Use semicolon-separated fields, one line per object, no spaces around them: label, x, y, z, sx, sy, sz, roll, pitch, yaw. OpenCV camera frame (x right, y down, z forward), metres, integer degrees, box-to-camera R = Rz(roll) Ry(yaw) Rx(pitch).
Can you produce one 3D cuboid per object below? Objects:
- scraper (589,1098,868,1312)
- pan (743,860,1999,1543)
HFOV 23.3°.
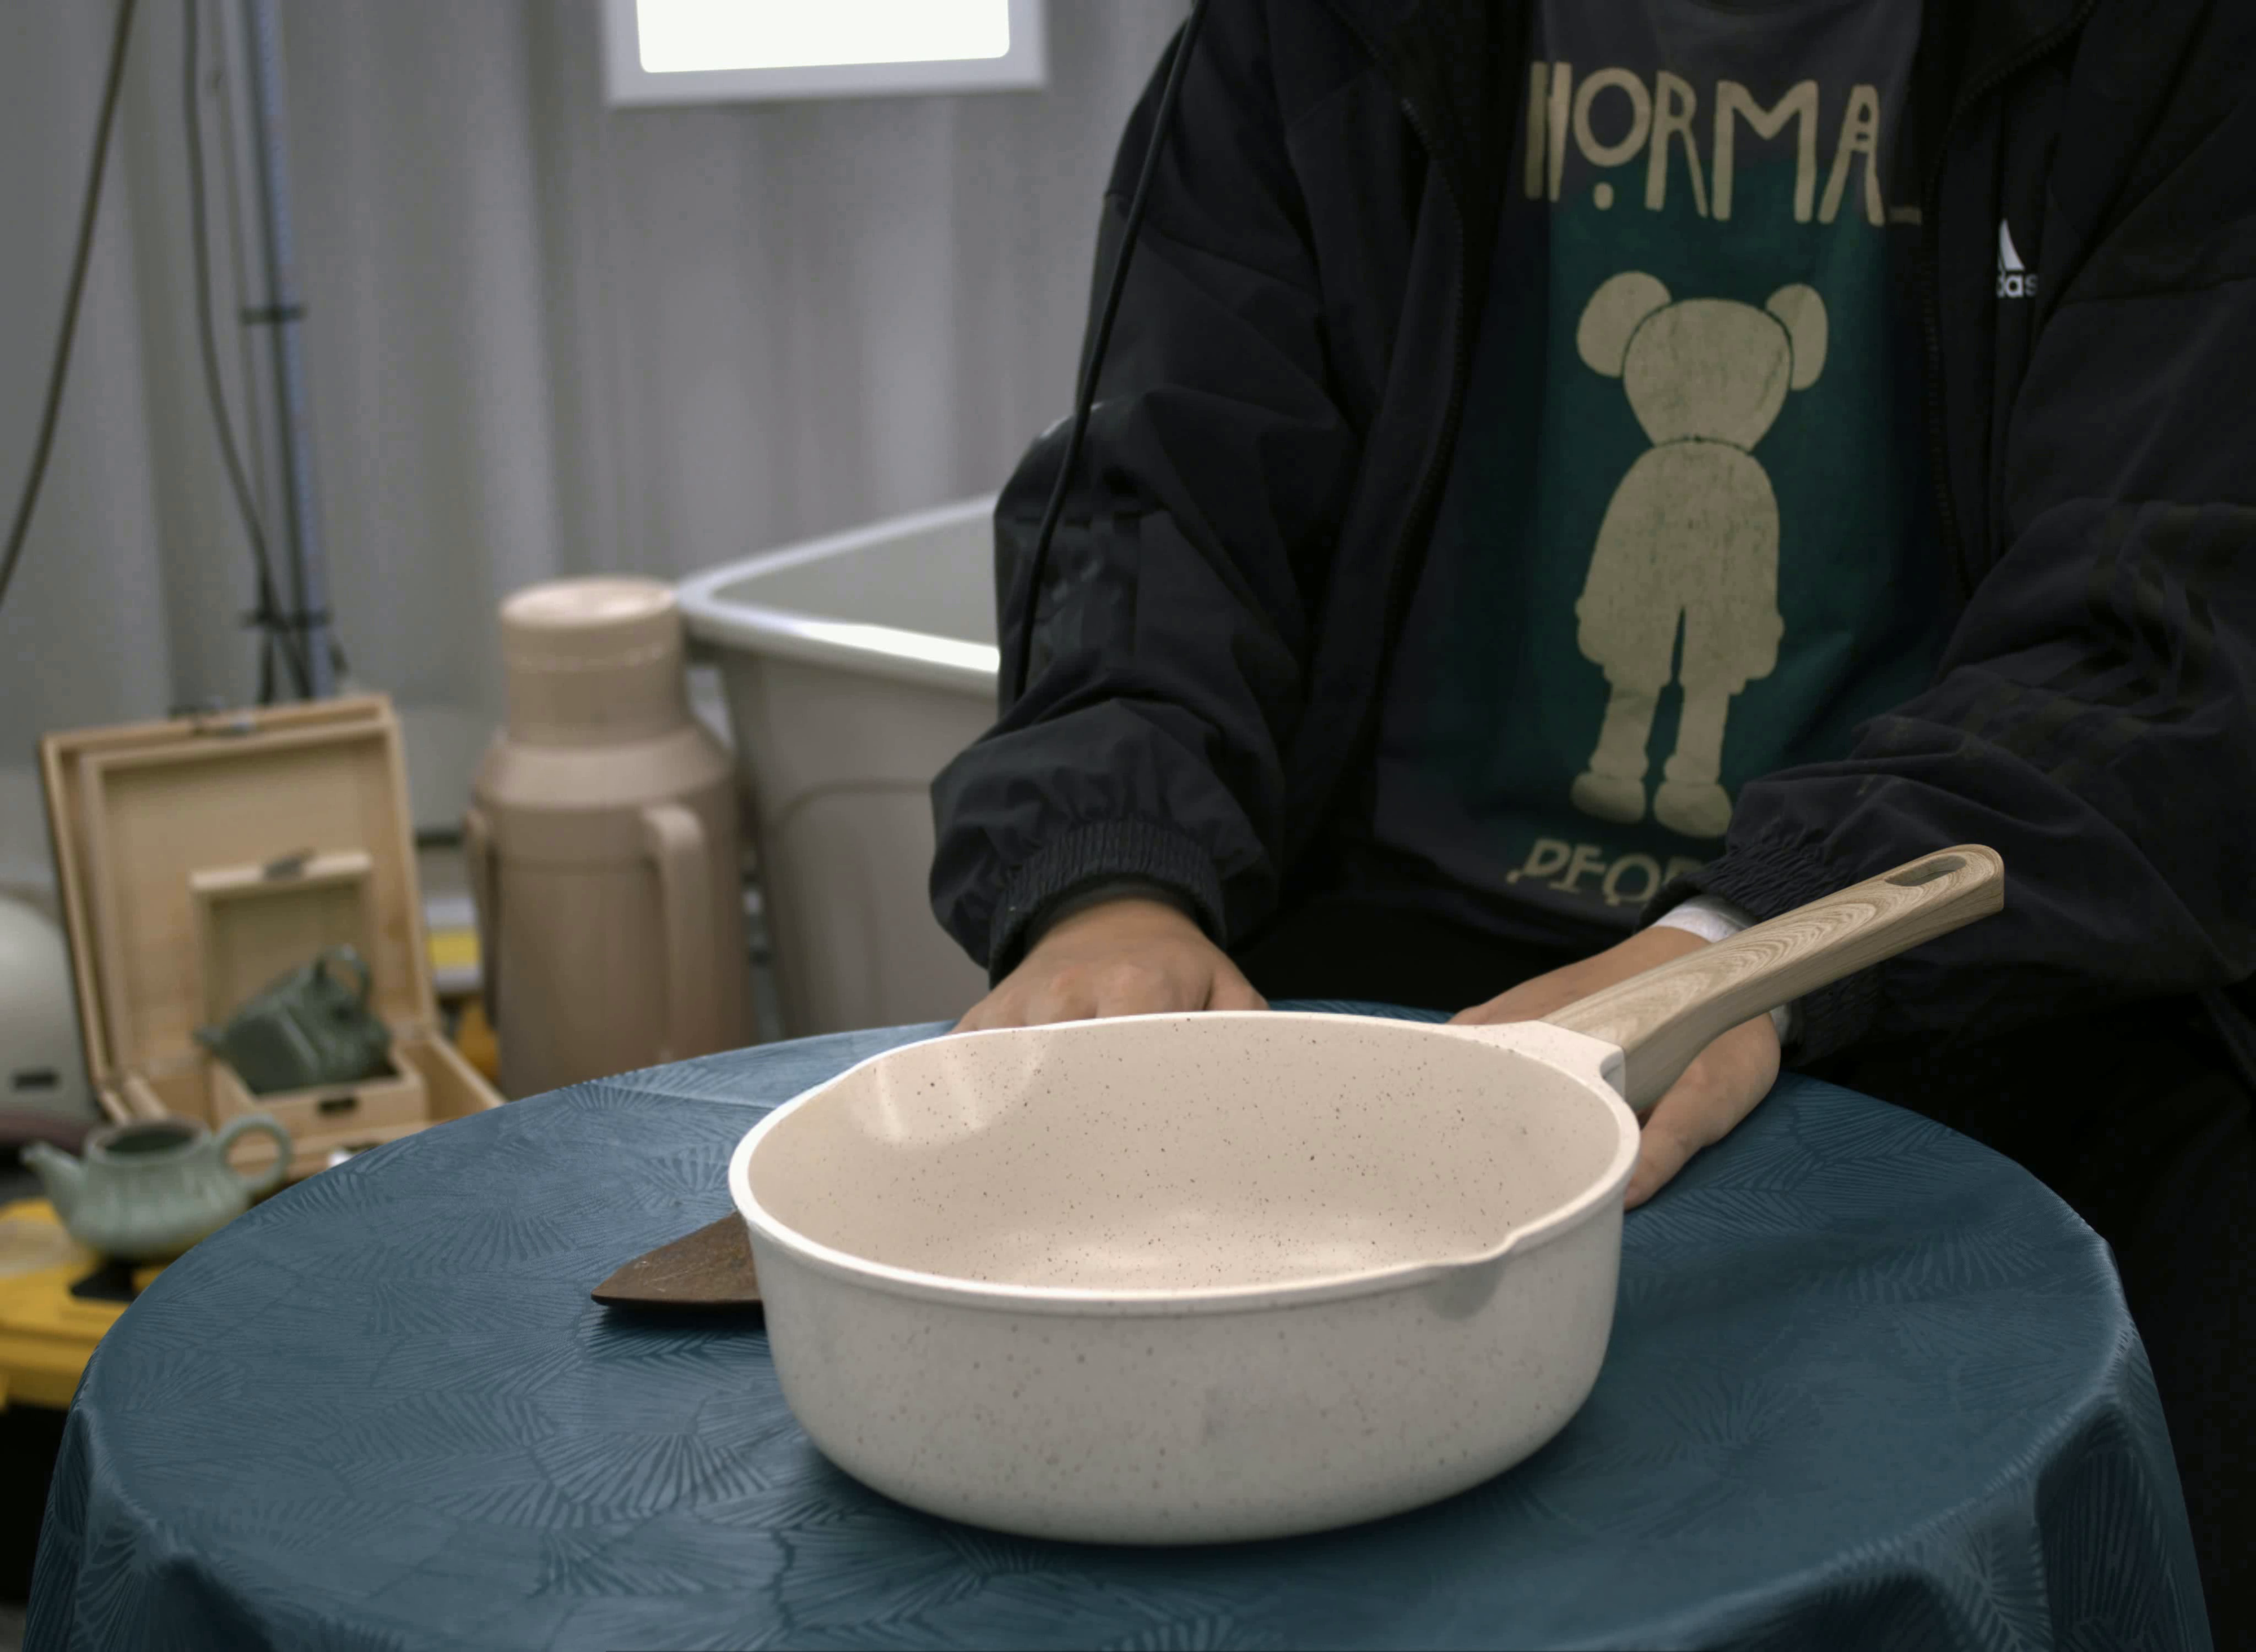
scraper;-0.111;0.118;1.707;0.075;0.011;0.212;0;14;8
pan;0.094;0.101;1.557;0.433;0.101;0.265;-13;16;-35
